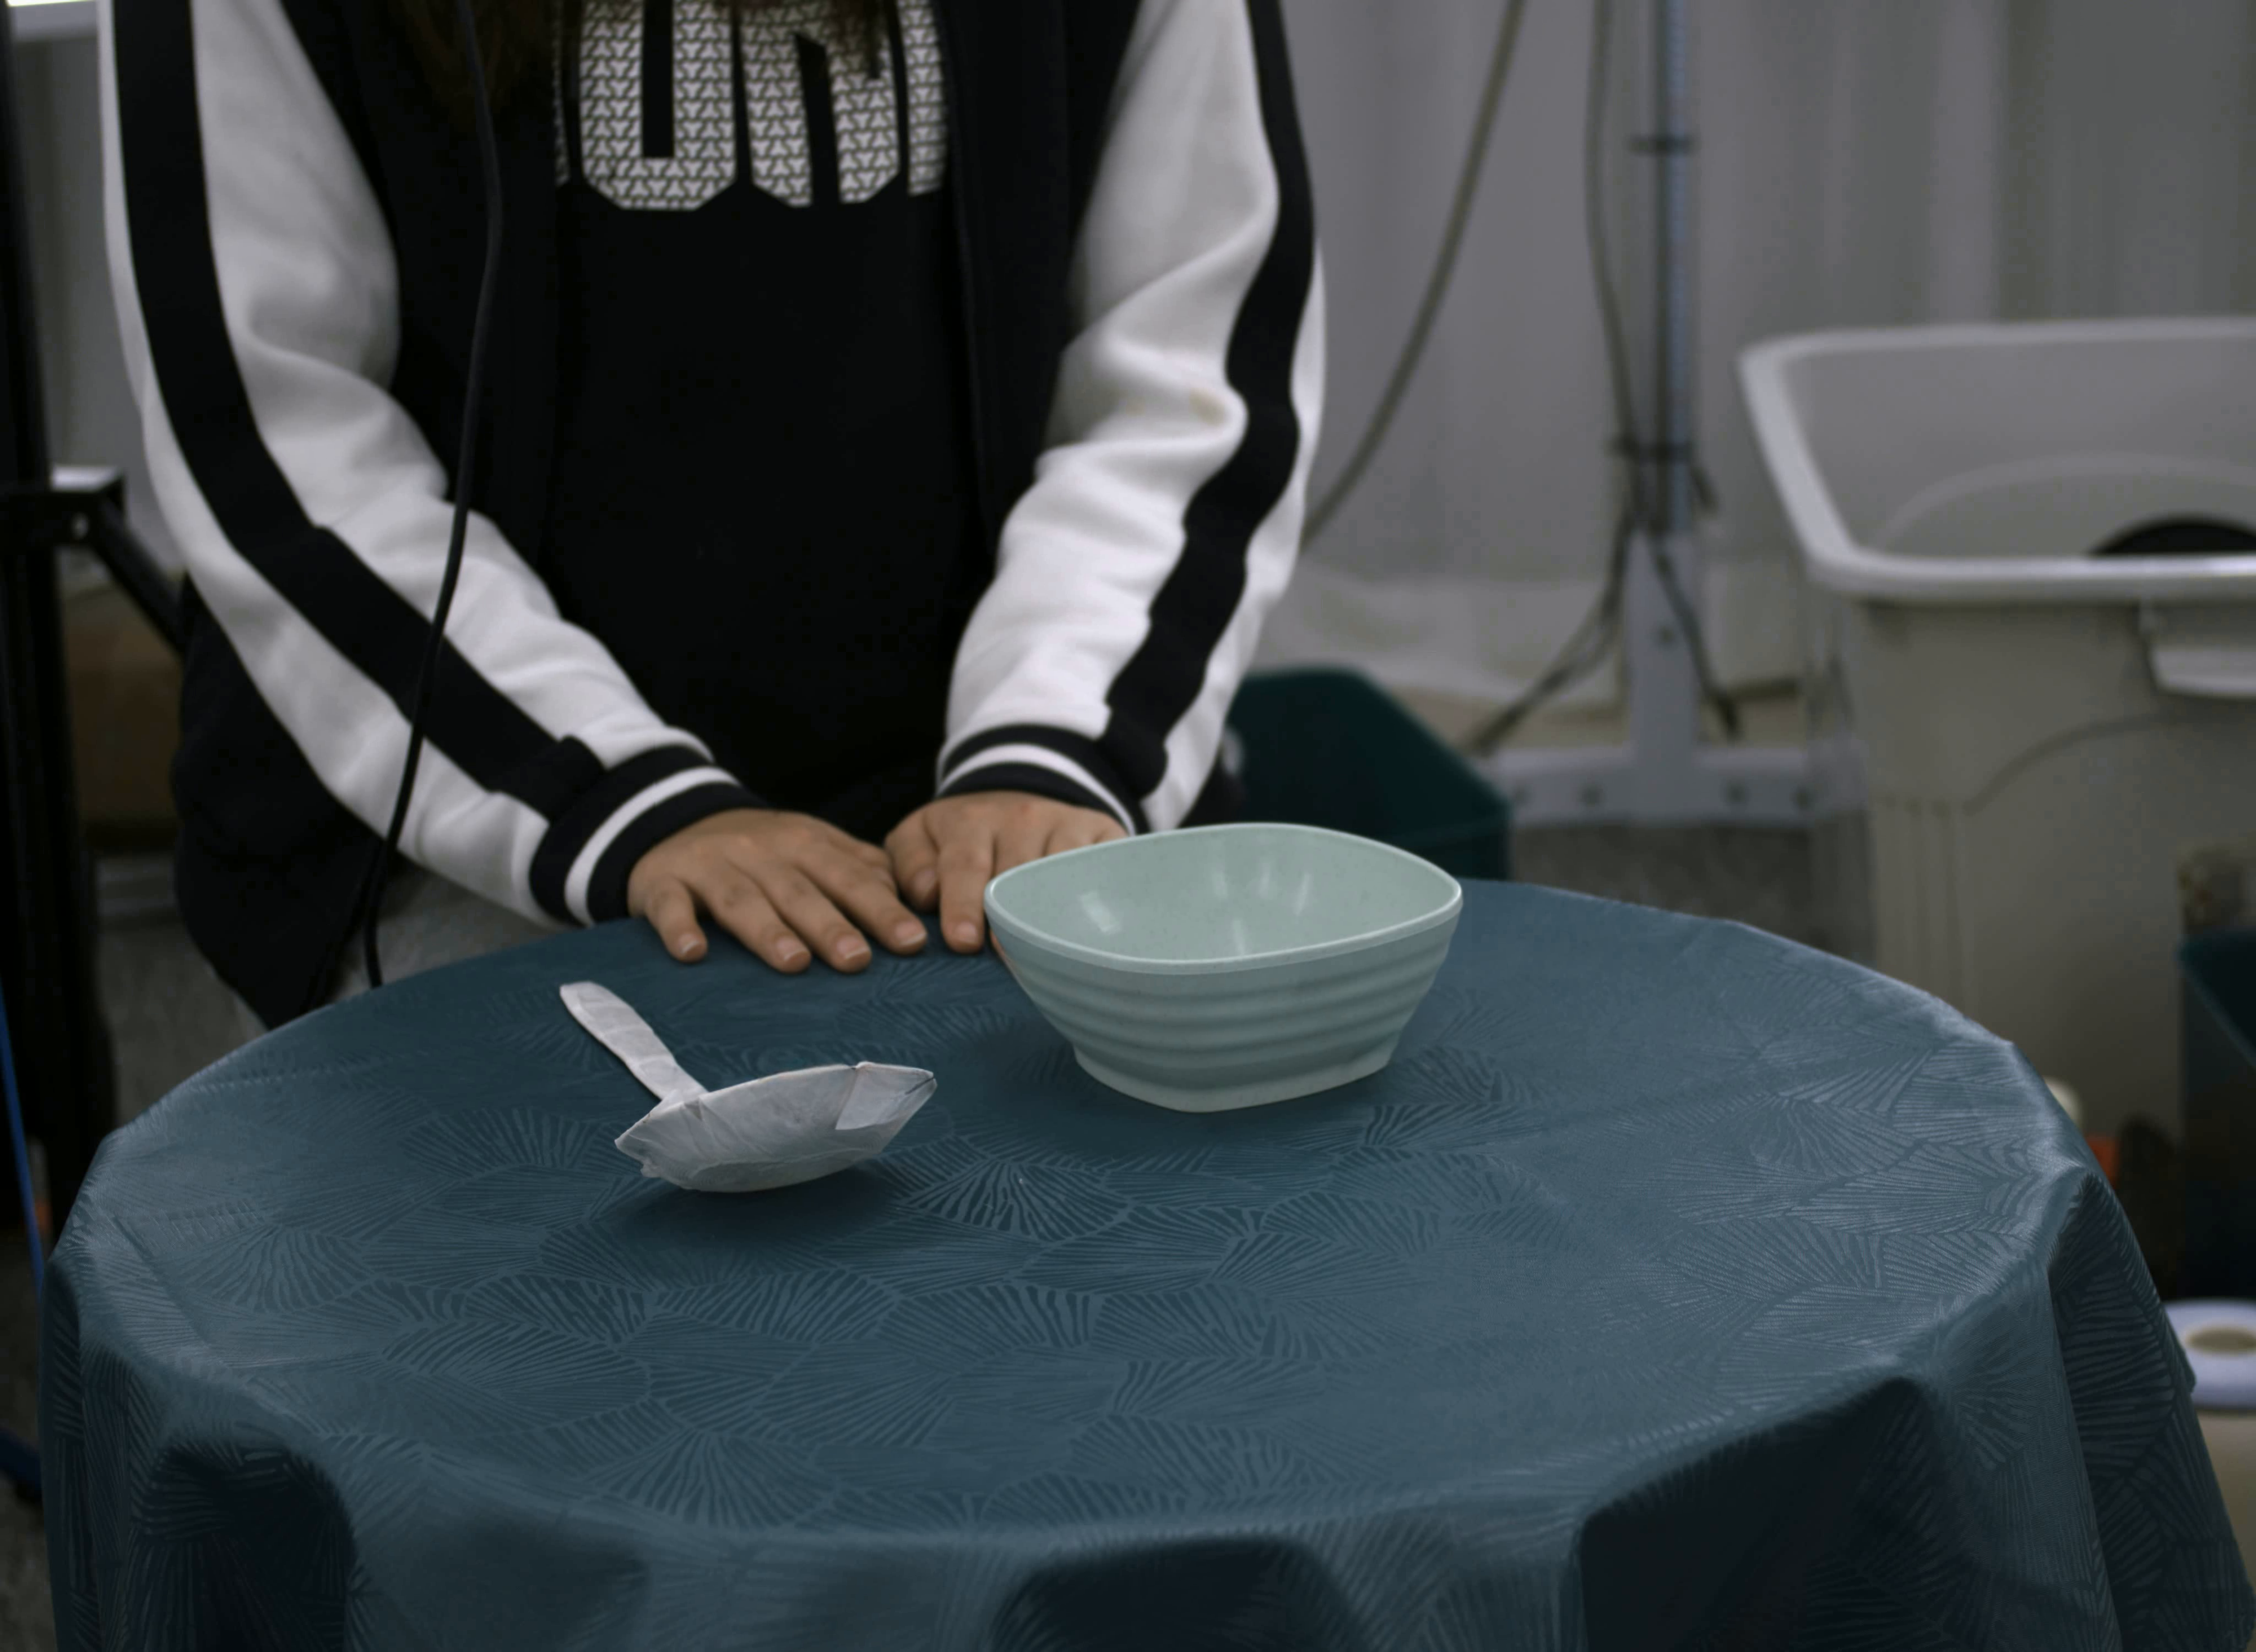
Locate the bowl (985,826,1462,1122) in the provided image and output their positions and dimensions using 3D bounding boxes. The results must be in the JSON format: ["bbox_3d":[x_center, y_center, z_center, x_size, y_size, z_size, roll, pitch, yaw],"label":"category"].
[{"bbox_3d":[0.031,0.049,1.663,0.151,0.058,0.152,-3,16,0],"label":"bowl"}]

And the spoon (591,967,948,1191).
[{"bbox_3d":[-0.127,0.060,1.646,0.099,0.059,0.281,-2,15,-16],"label":"spoon"}]
